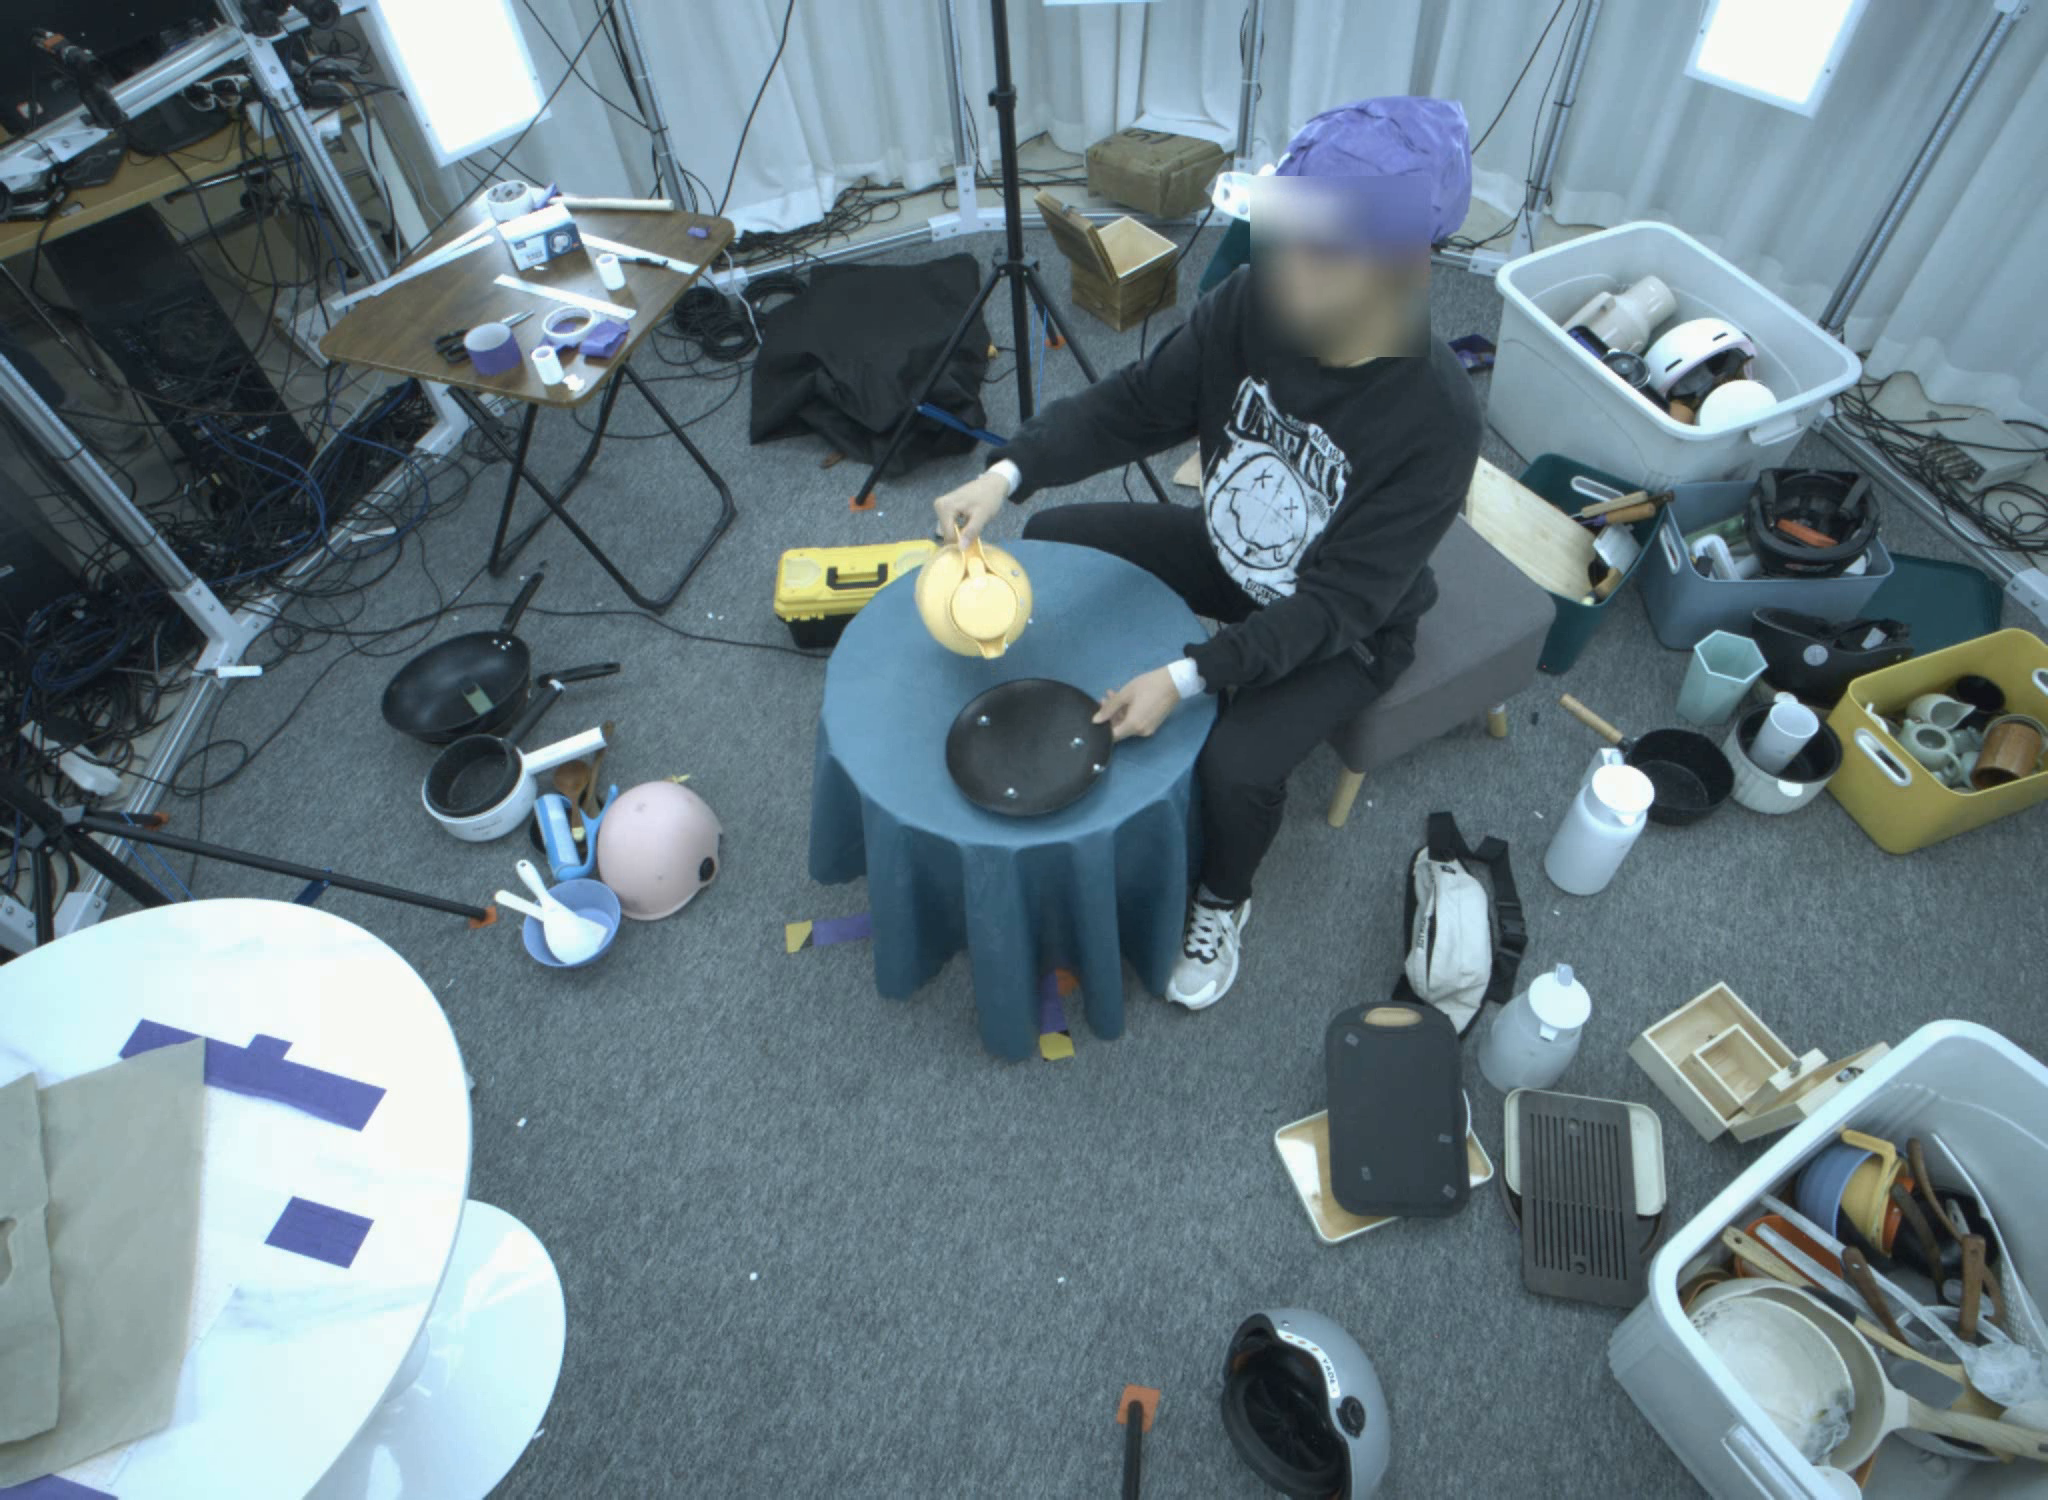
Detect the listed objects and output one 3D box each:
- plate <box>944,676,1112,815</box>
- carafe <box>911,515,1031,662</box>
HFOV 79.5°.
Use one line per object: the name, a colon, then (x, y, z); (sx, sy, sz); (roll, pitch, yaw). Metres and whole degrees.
plate: (0.006, -0.005, 1.765); (0.244, 0.024, 0.242); (-2, 55, 4)
carafe: (-0.073, -0.234, 1.740); (0.164, 0.204, 0.257); (-12, 16, -9)
